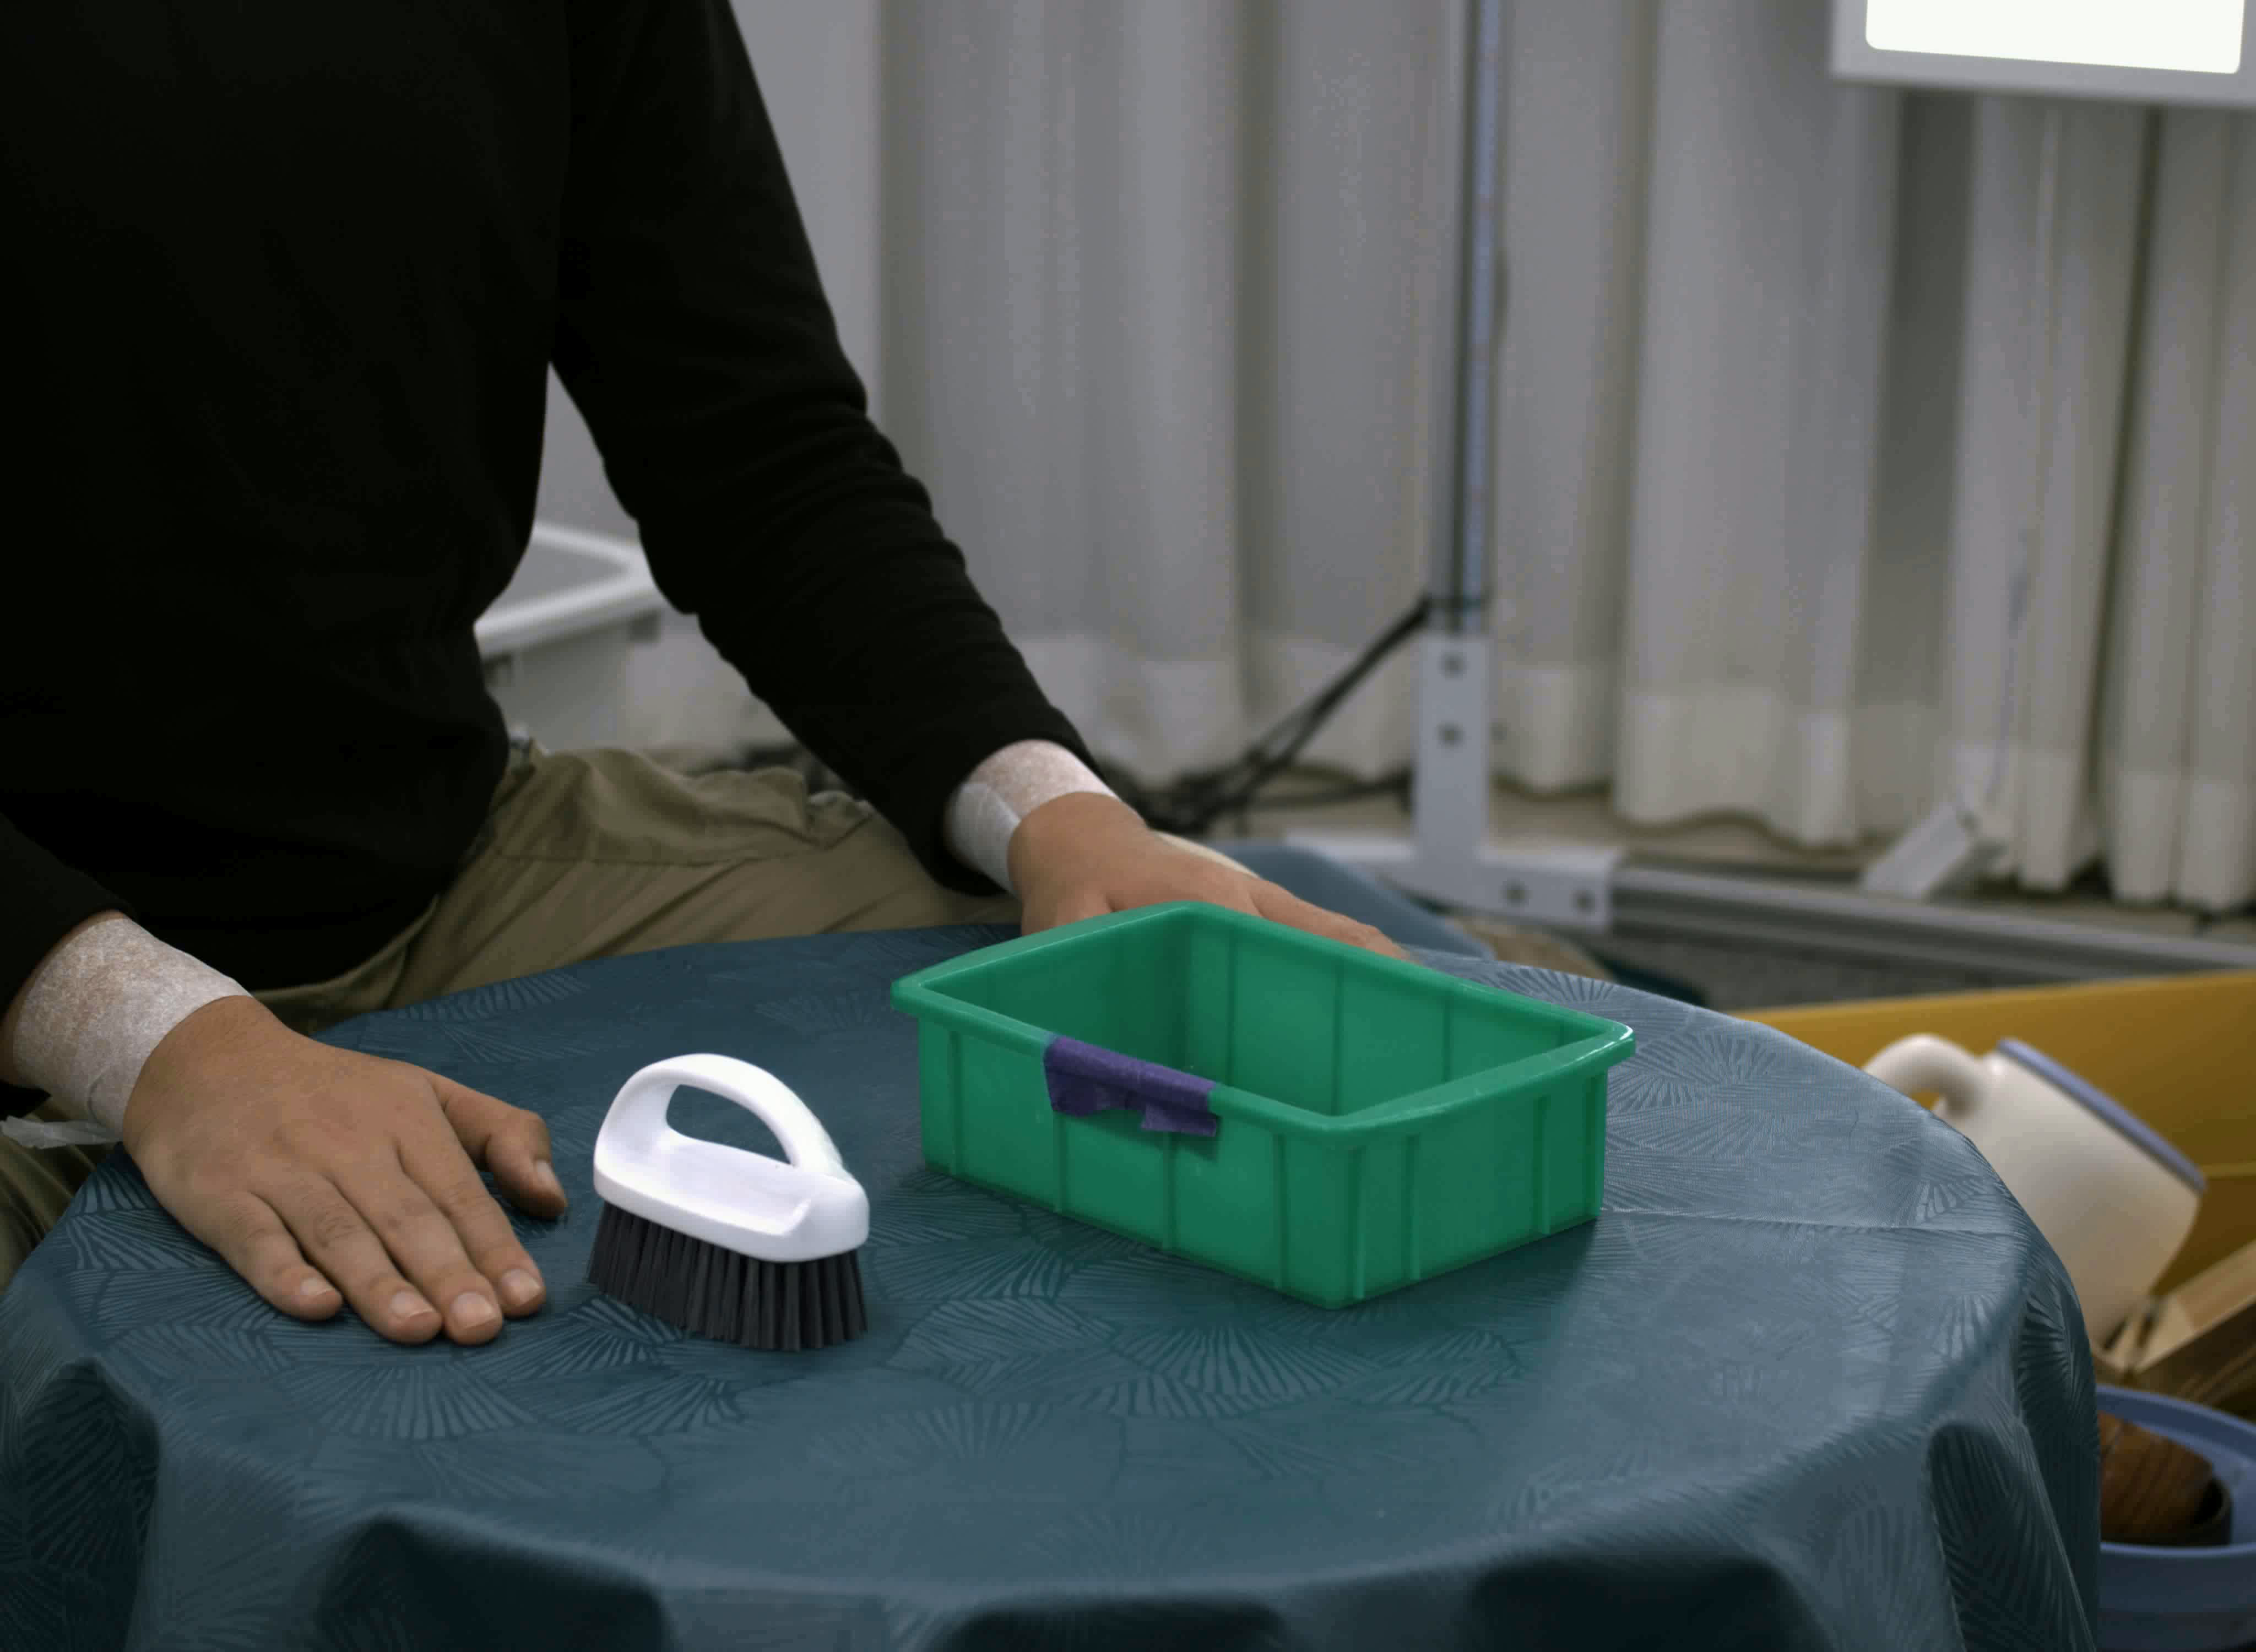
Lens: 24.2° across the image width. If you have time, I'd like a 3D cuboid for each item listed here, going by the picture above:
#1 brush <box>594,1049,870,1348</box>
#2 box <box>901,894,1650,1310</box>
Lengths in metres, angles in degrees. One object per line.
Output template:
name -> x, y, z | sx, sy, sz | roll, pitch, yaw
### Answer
brush -> -0.116, 0.102, 1.516 | 0.050, 0.073, 0.098 | -14, 21, -40
box -> 0.043, 0.083, 1.610 | 0.207, 0.066, 0.139 | 17, 24, 41
